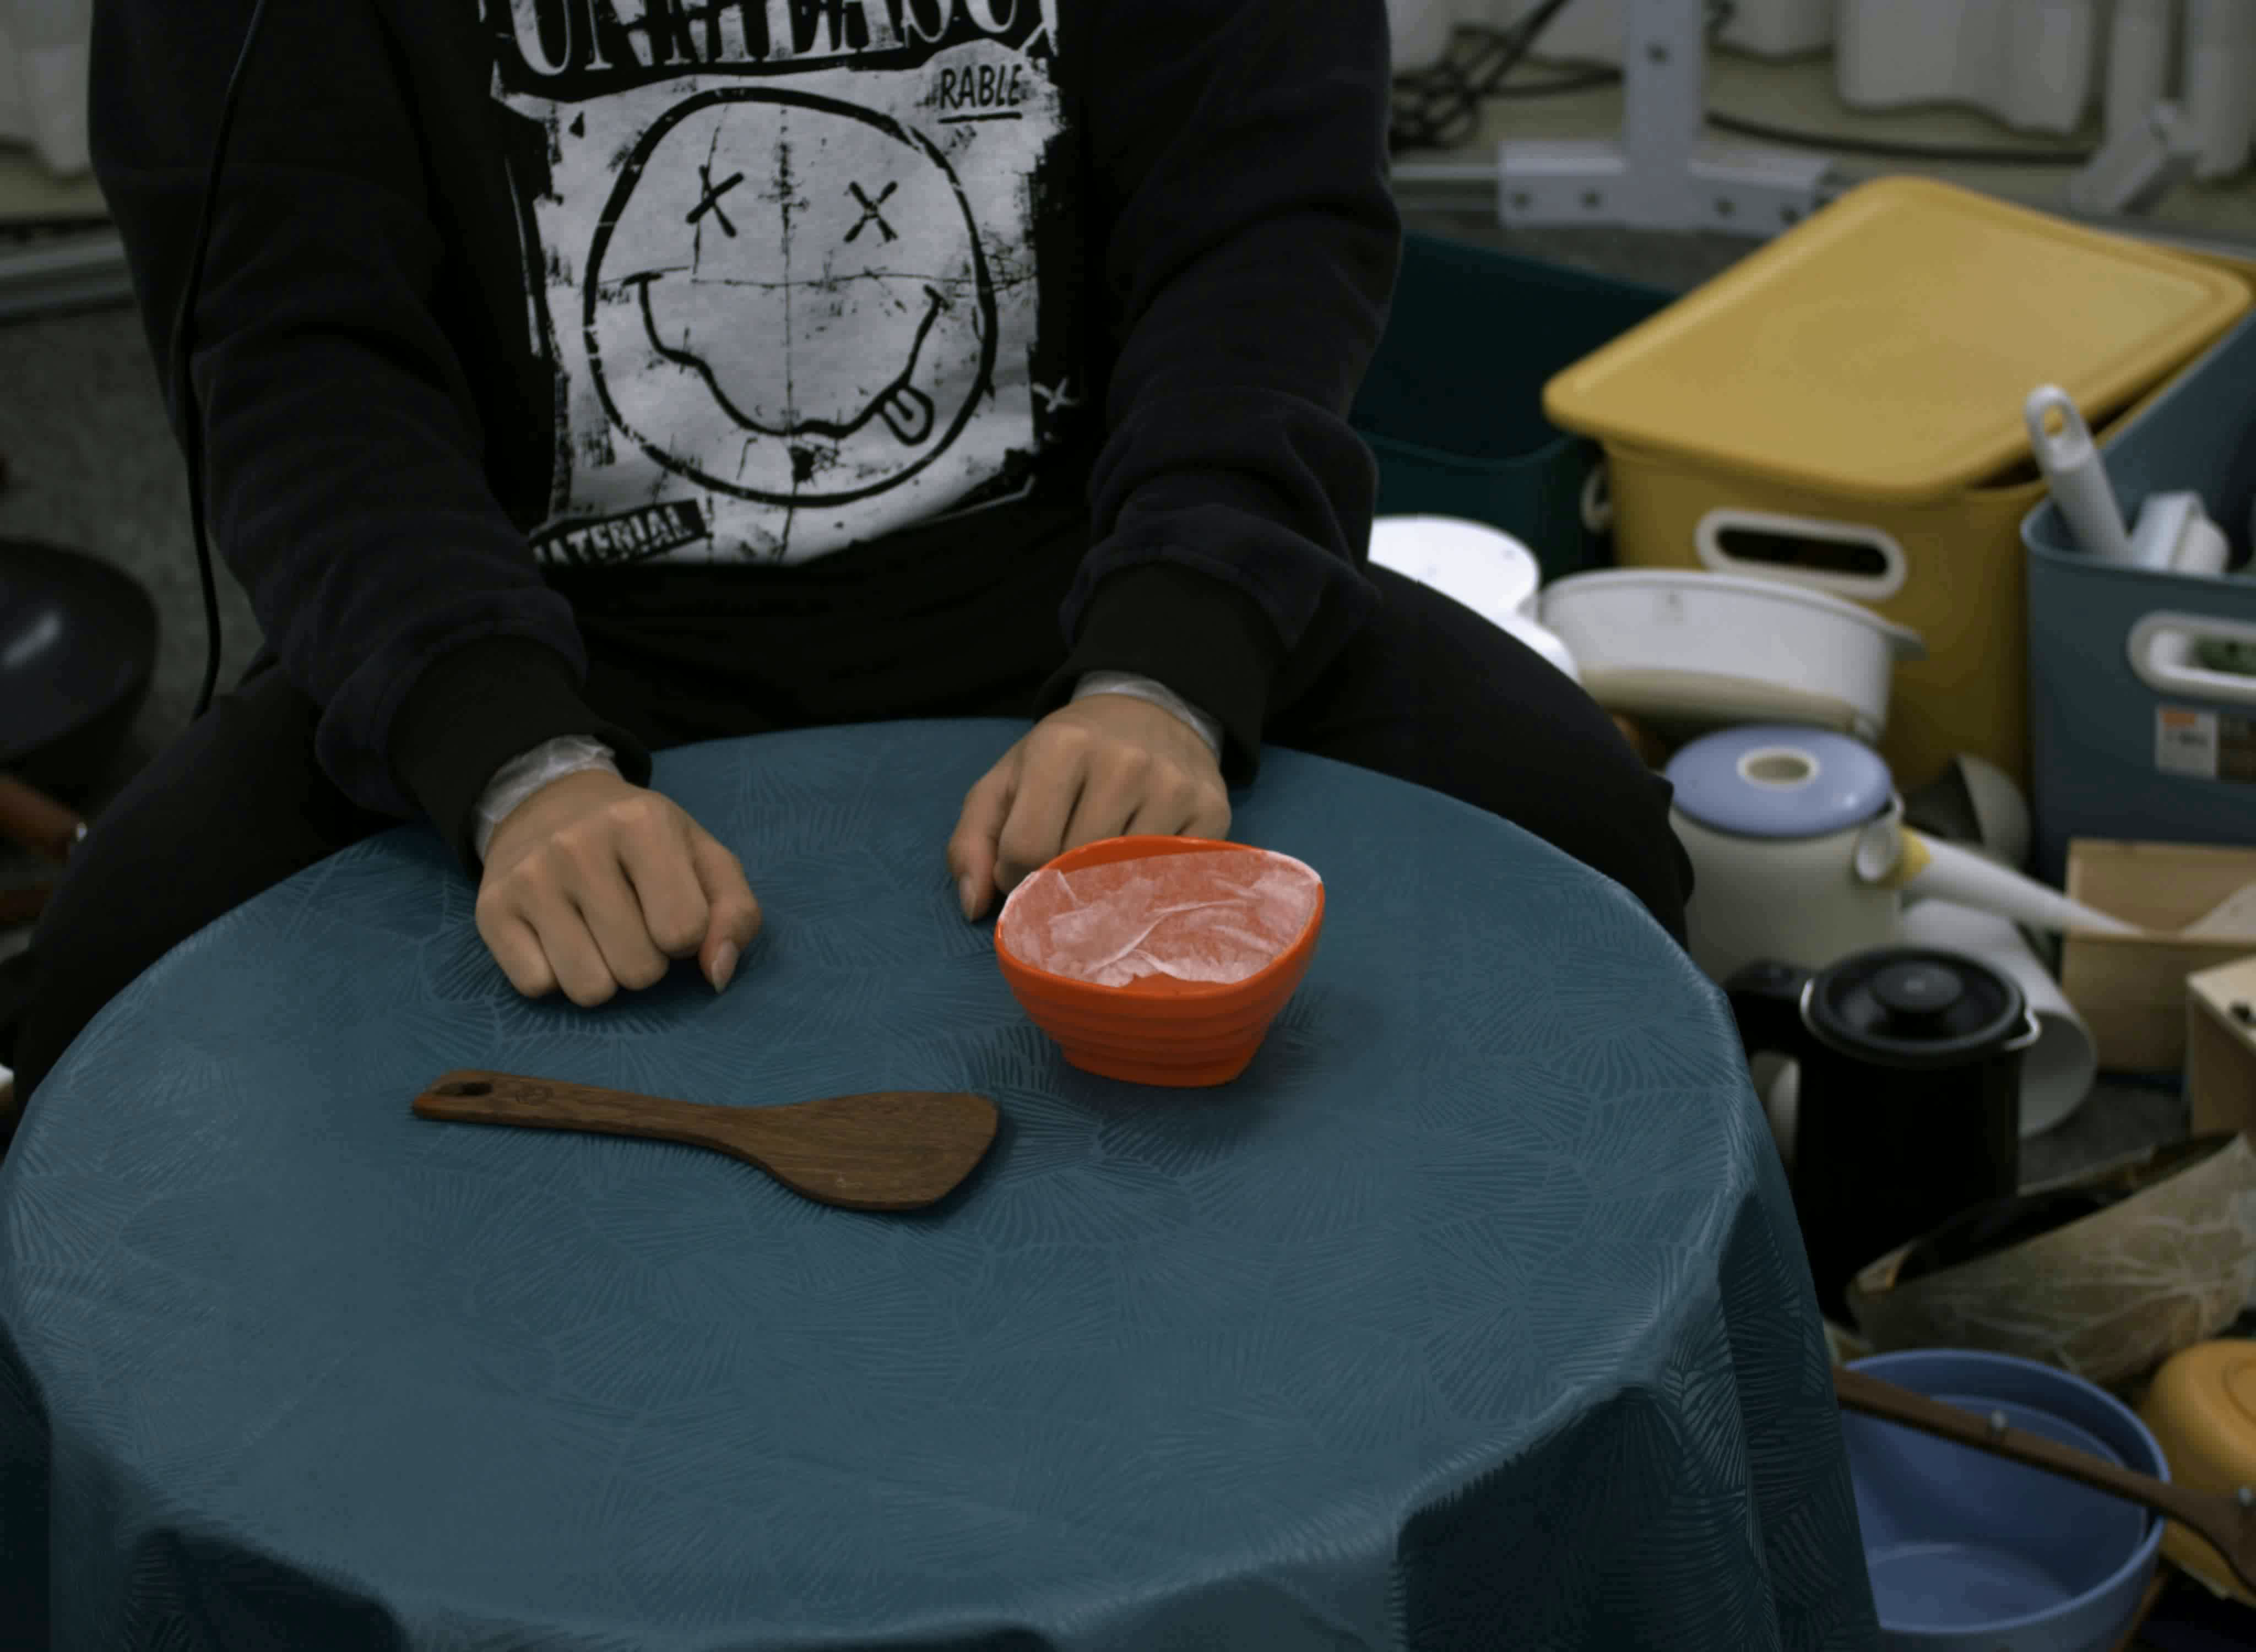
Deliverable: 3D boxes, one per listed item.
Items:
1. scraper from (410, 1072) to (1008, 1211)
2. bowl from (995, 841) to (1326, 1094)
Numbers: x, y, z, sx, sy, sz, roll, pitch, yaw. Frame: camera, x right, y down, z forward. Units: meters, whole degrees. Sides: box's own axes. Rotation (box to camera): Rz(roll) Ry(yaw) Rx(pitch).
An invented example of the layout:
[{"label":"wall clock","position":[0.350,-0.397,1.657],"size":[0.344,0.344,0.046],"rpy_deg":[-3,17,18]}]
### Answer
[{"label":"scraper","position":[-0.145,0.102,1.905],"size":[0.210,0.011,0.077],"rpy_deg":[6,27,18]},{"label":"bowl","position":[0.013,0.053,1.942],"size":[0.118,0.051,0.121],"rpy_deg":[-3,28,2]}]
